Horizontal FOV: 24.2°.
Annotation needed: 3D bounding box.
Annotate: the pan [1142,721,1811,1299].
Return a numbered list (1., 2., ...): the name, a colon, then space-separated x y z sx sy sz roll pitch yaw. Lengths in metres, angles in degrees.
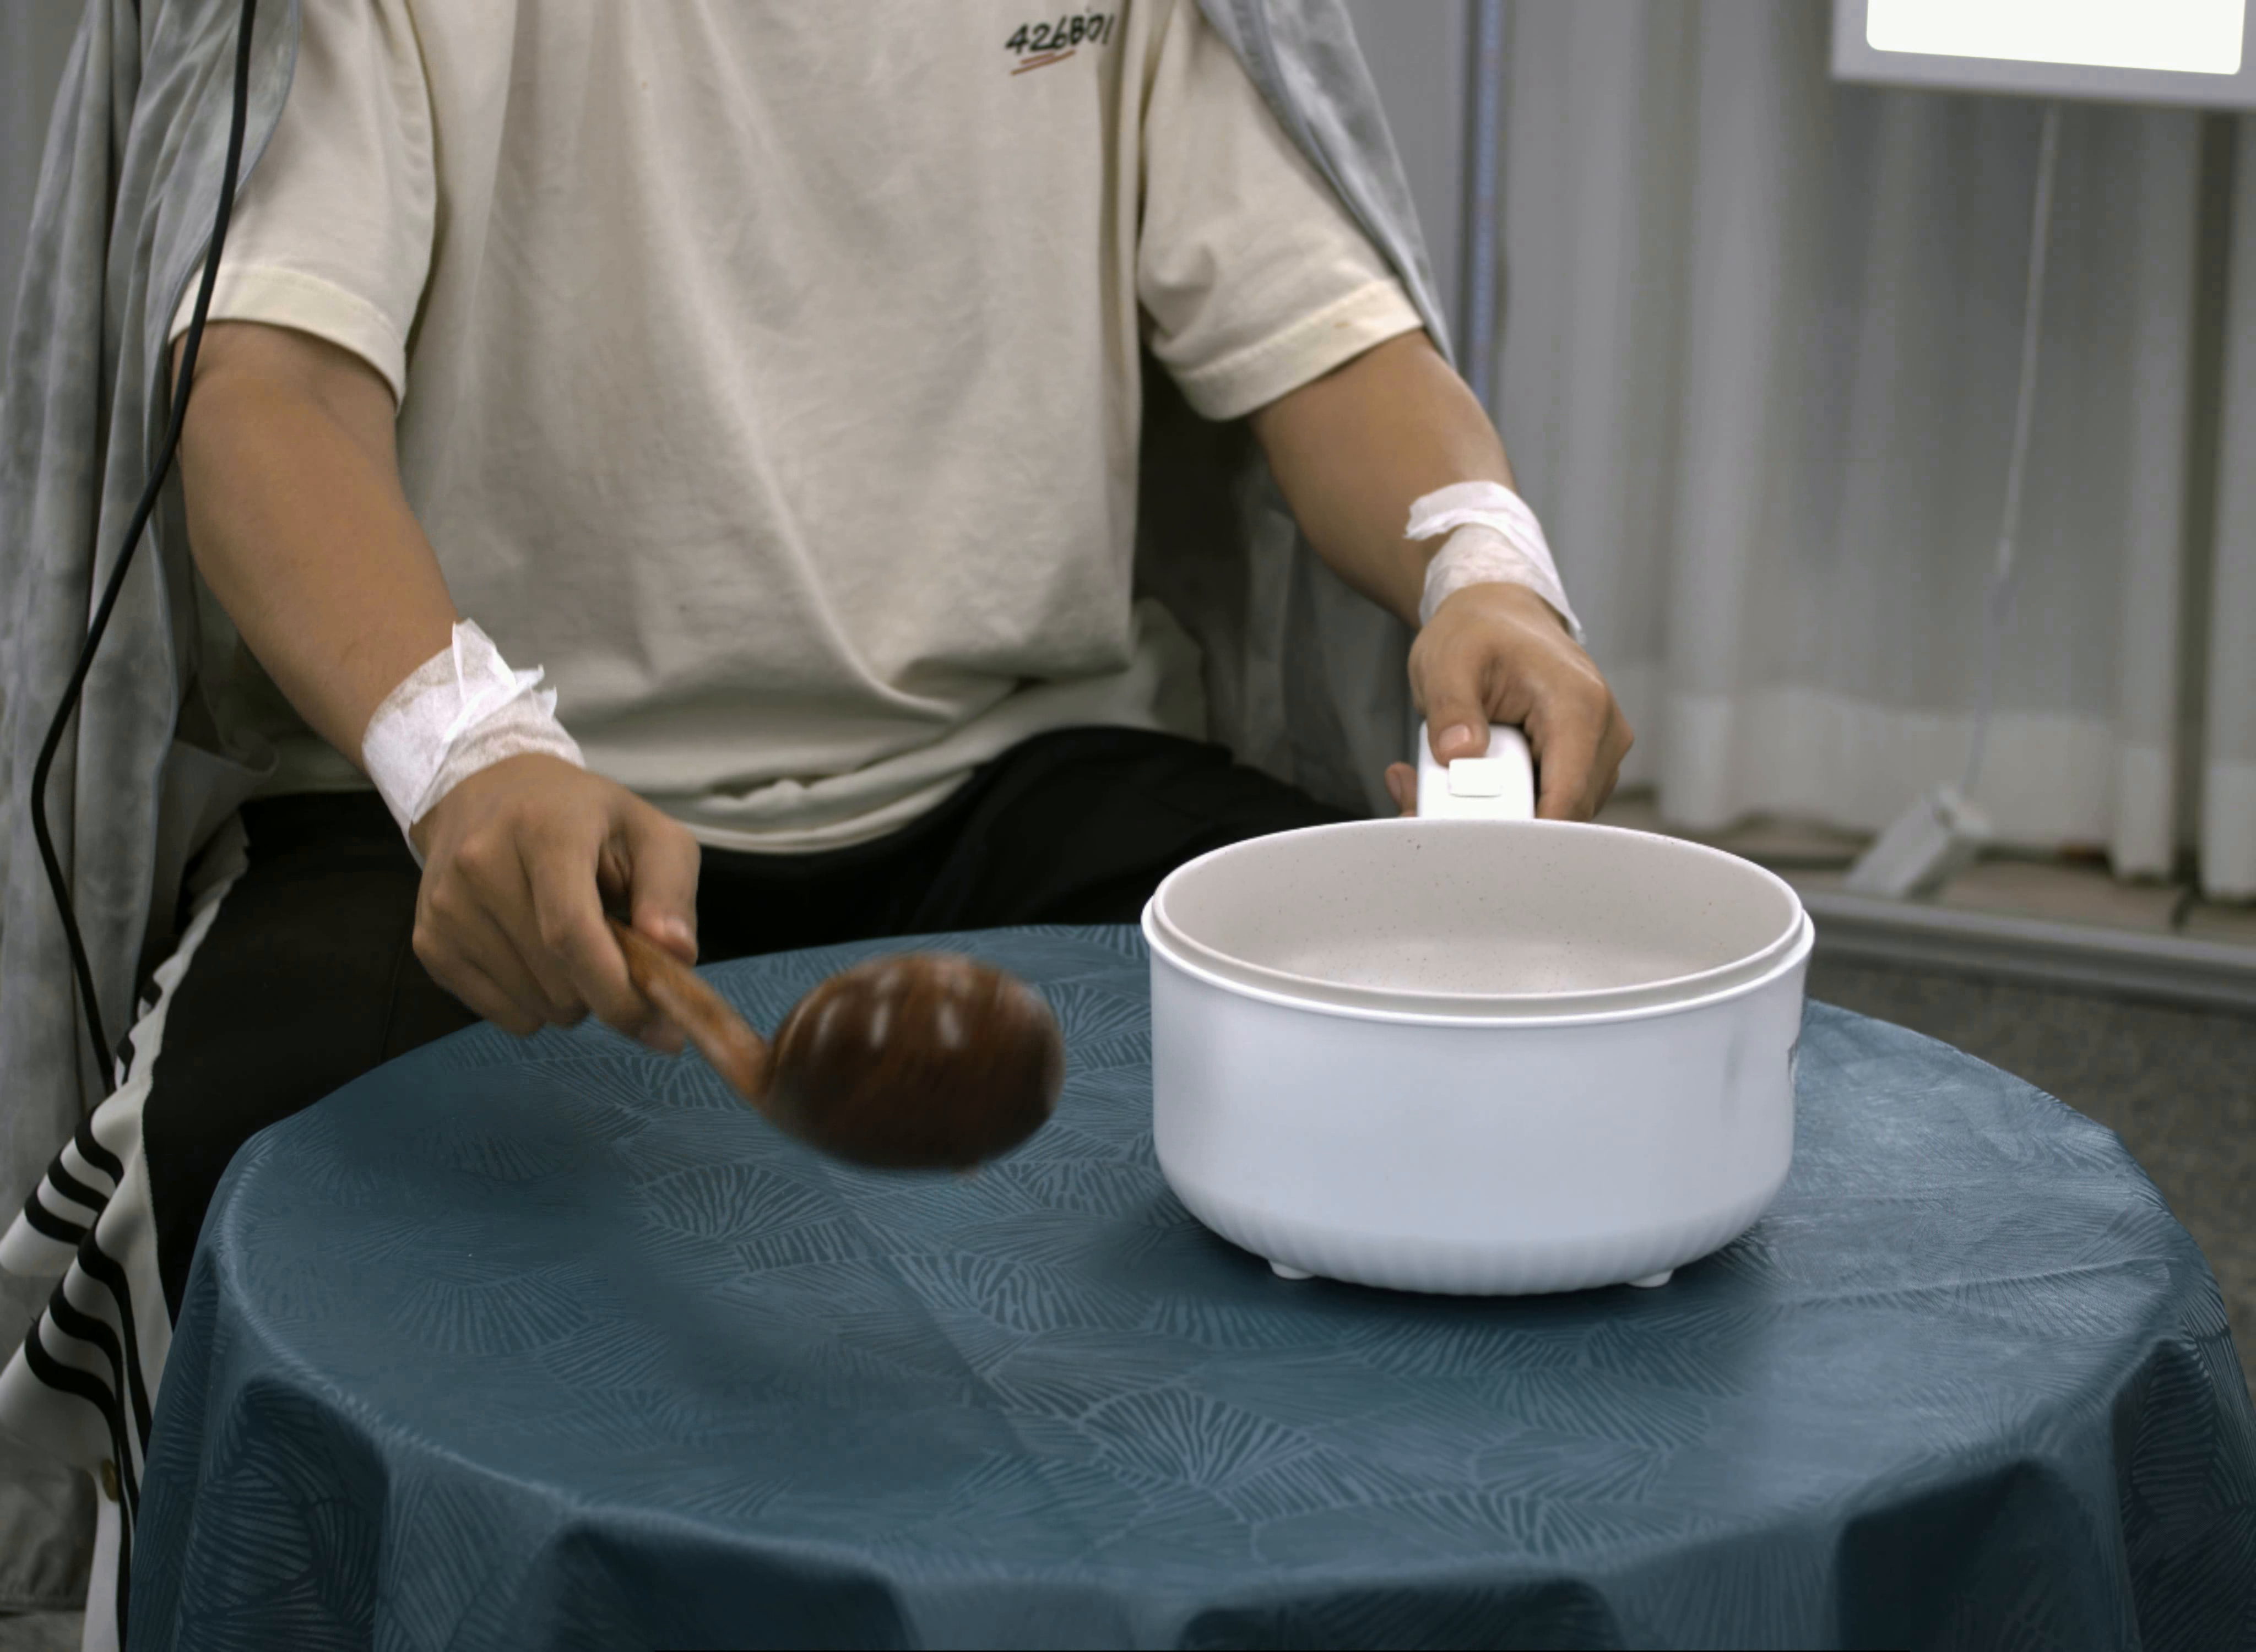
1. pan: 0.110 0.053 1.664 0.200 0.103 0.353 0 15 4

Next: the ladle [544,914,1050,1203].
1. ladle: -0.105 0.045 1.537 0.083 0.076 0.271 43 -4 -28
